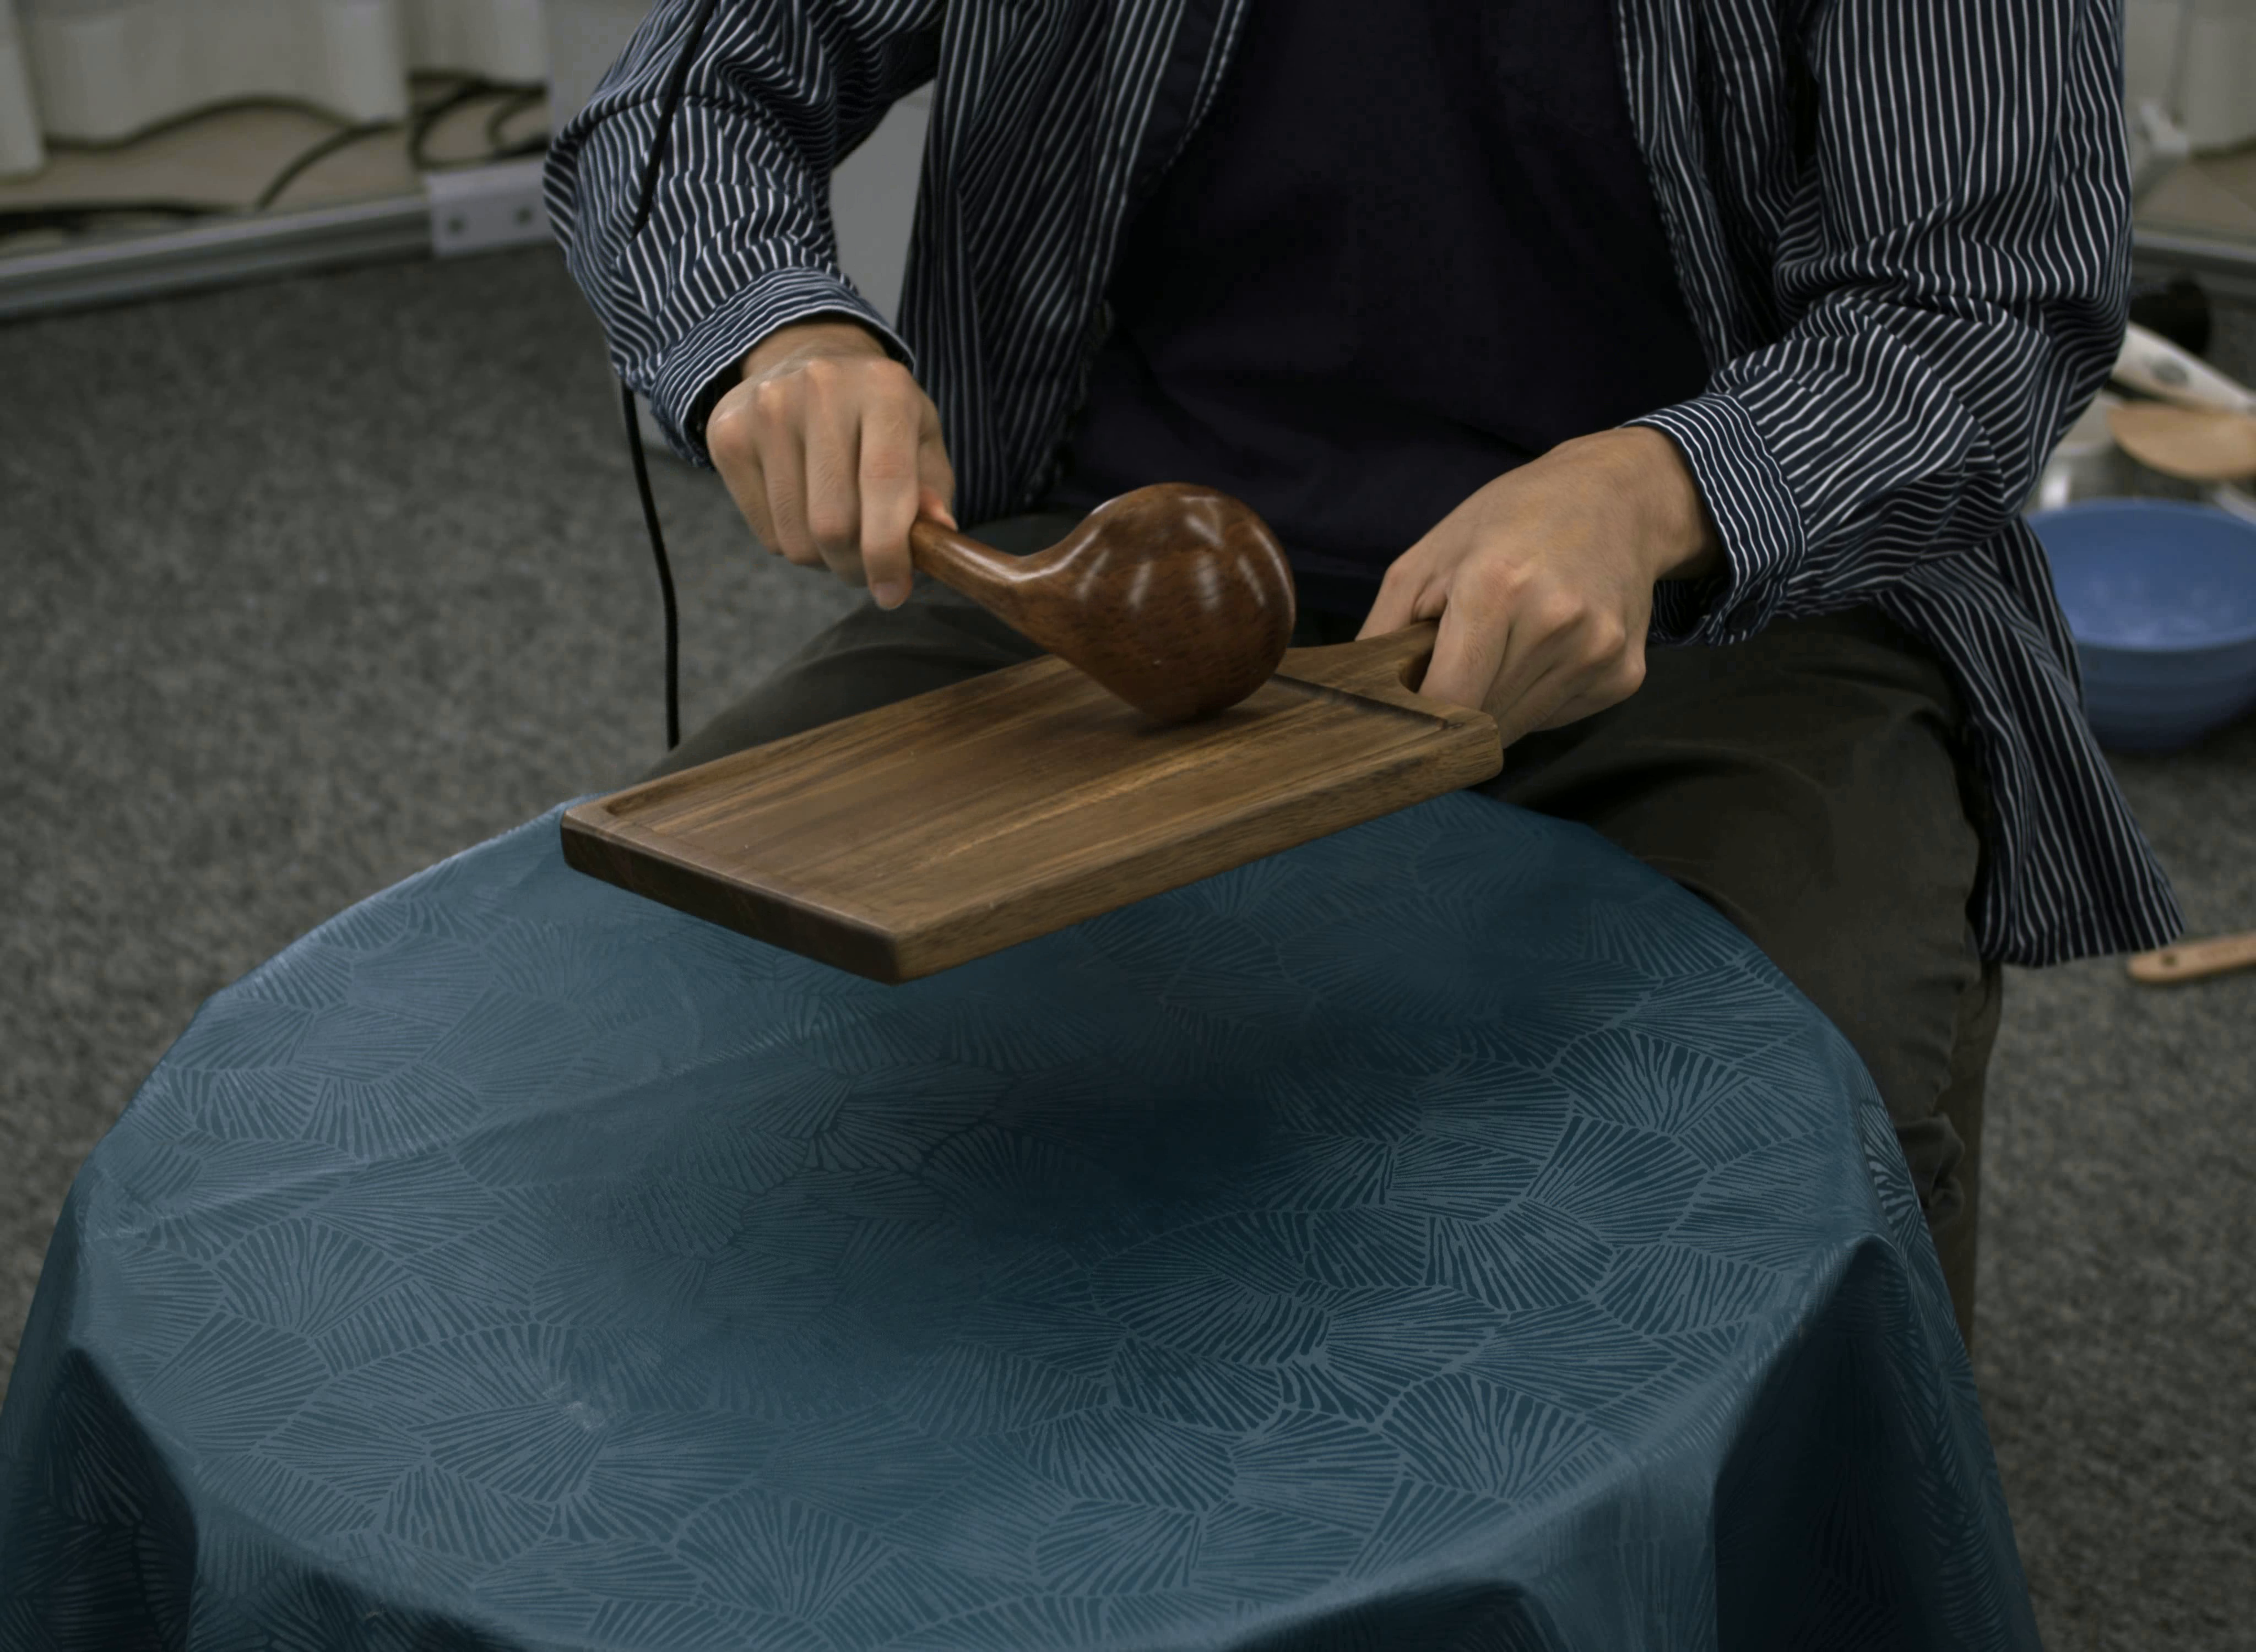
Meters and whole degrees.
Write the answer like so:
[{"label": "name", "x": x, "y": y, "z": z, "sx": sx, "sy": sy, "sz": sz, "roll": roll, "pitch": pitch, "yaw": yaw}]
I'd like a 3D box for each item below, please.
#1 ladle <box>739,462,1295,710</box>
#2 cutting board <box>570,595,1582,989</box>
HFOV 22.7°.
[{"label": "ladle", "x": -0.040, "y": -0.101, "z": 1.946, "sx": 0.077, "sy": 0.081, "sz": 0.274, "roll": -11, "pitch": 19, "yaw": -29}, {"label": "cutting board", "x": 0.012, "y": -0.023, "z": 1.848, "sx": 0.355, "sy": 0.023, "sz": 0.200, "roll": -18, "pitch": 21, "yaw": -33}]
